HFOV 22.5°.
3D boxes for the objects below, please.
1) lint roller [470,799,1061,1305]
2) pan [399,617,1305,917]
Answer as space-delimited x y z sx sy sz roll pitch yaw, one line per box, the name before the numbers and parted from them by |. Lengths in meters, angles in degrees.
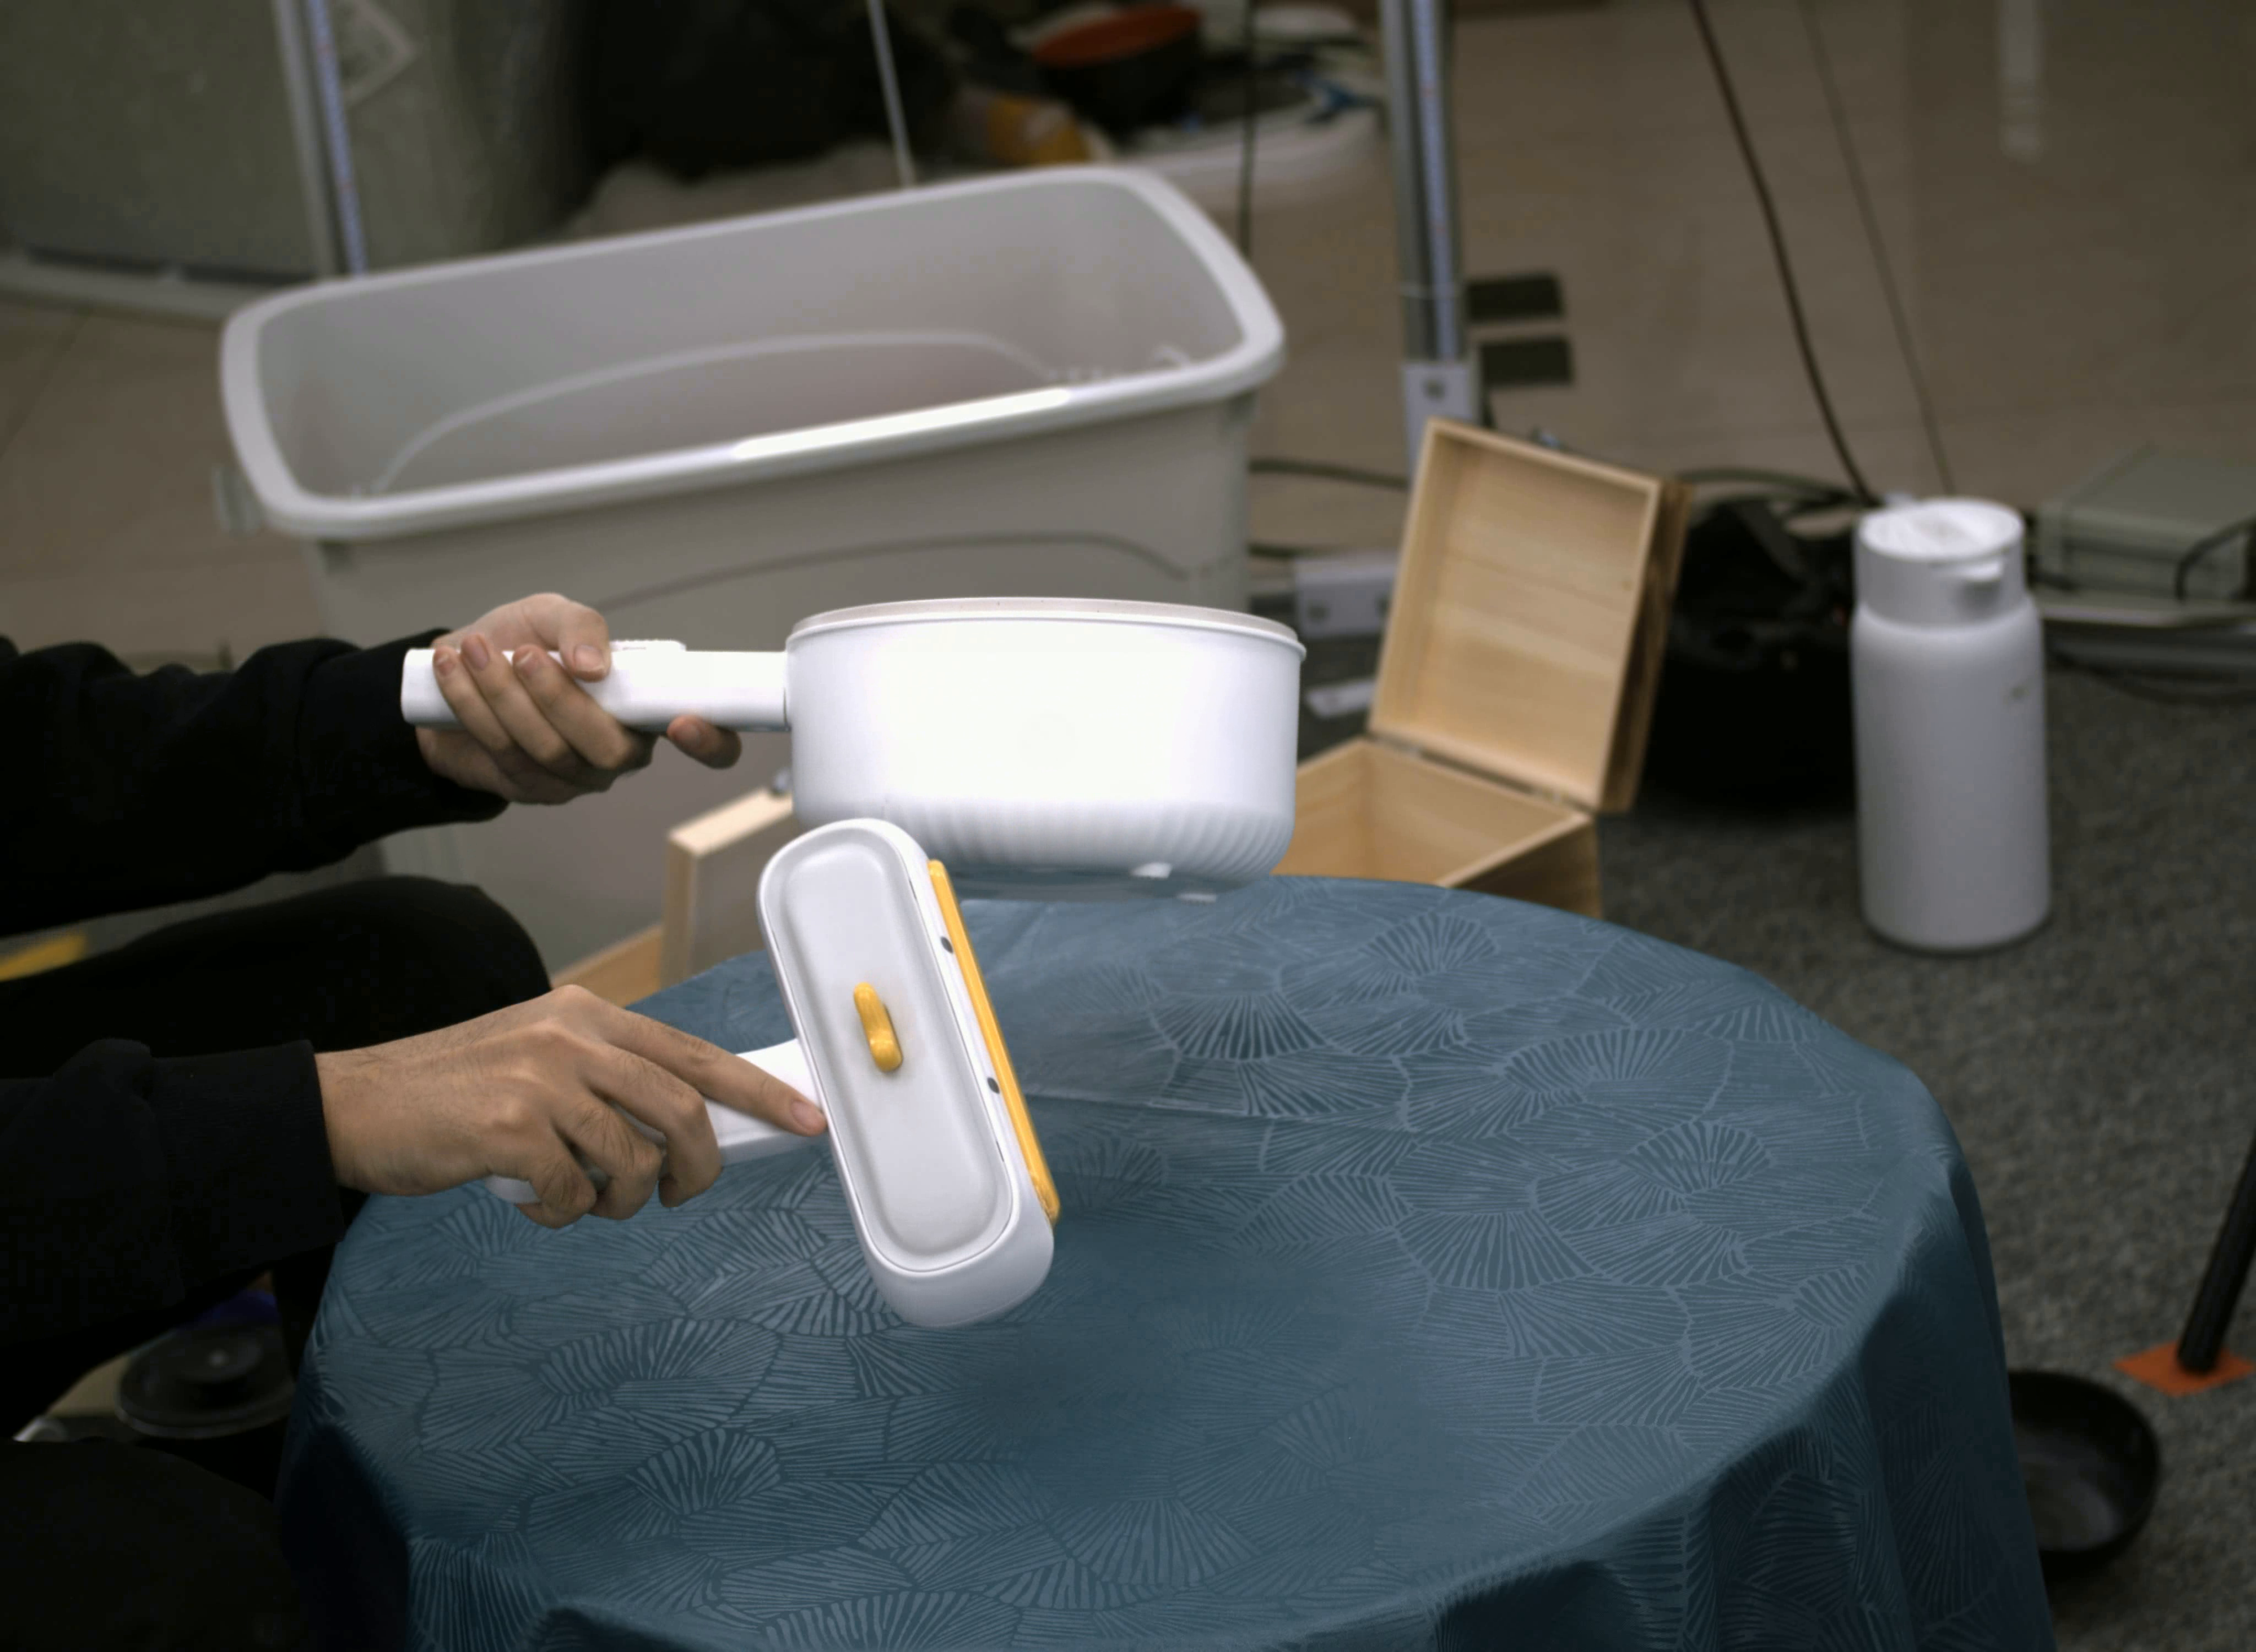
lint roller | -0.137 0.095 1.989 0.192 0.075 0.191 -20 70 -7
pan | -0.107 -0.017 2.188 0.354 0.102 0.201 -2 -4 10
